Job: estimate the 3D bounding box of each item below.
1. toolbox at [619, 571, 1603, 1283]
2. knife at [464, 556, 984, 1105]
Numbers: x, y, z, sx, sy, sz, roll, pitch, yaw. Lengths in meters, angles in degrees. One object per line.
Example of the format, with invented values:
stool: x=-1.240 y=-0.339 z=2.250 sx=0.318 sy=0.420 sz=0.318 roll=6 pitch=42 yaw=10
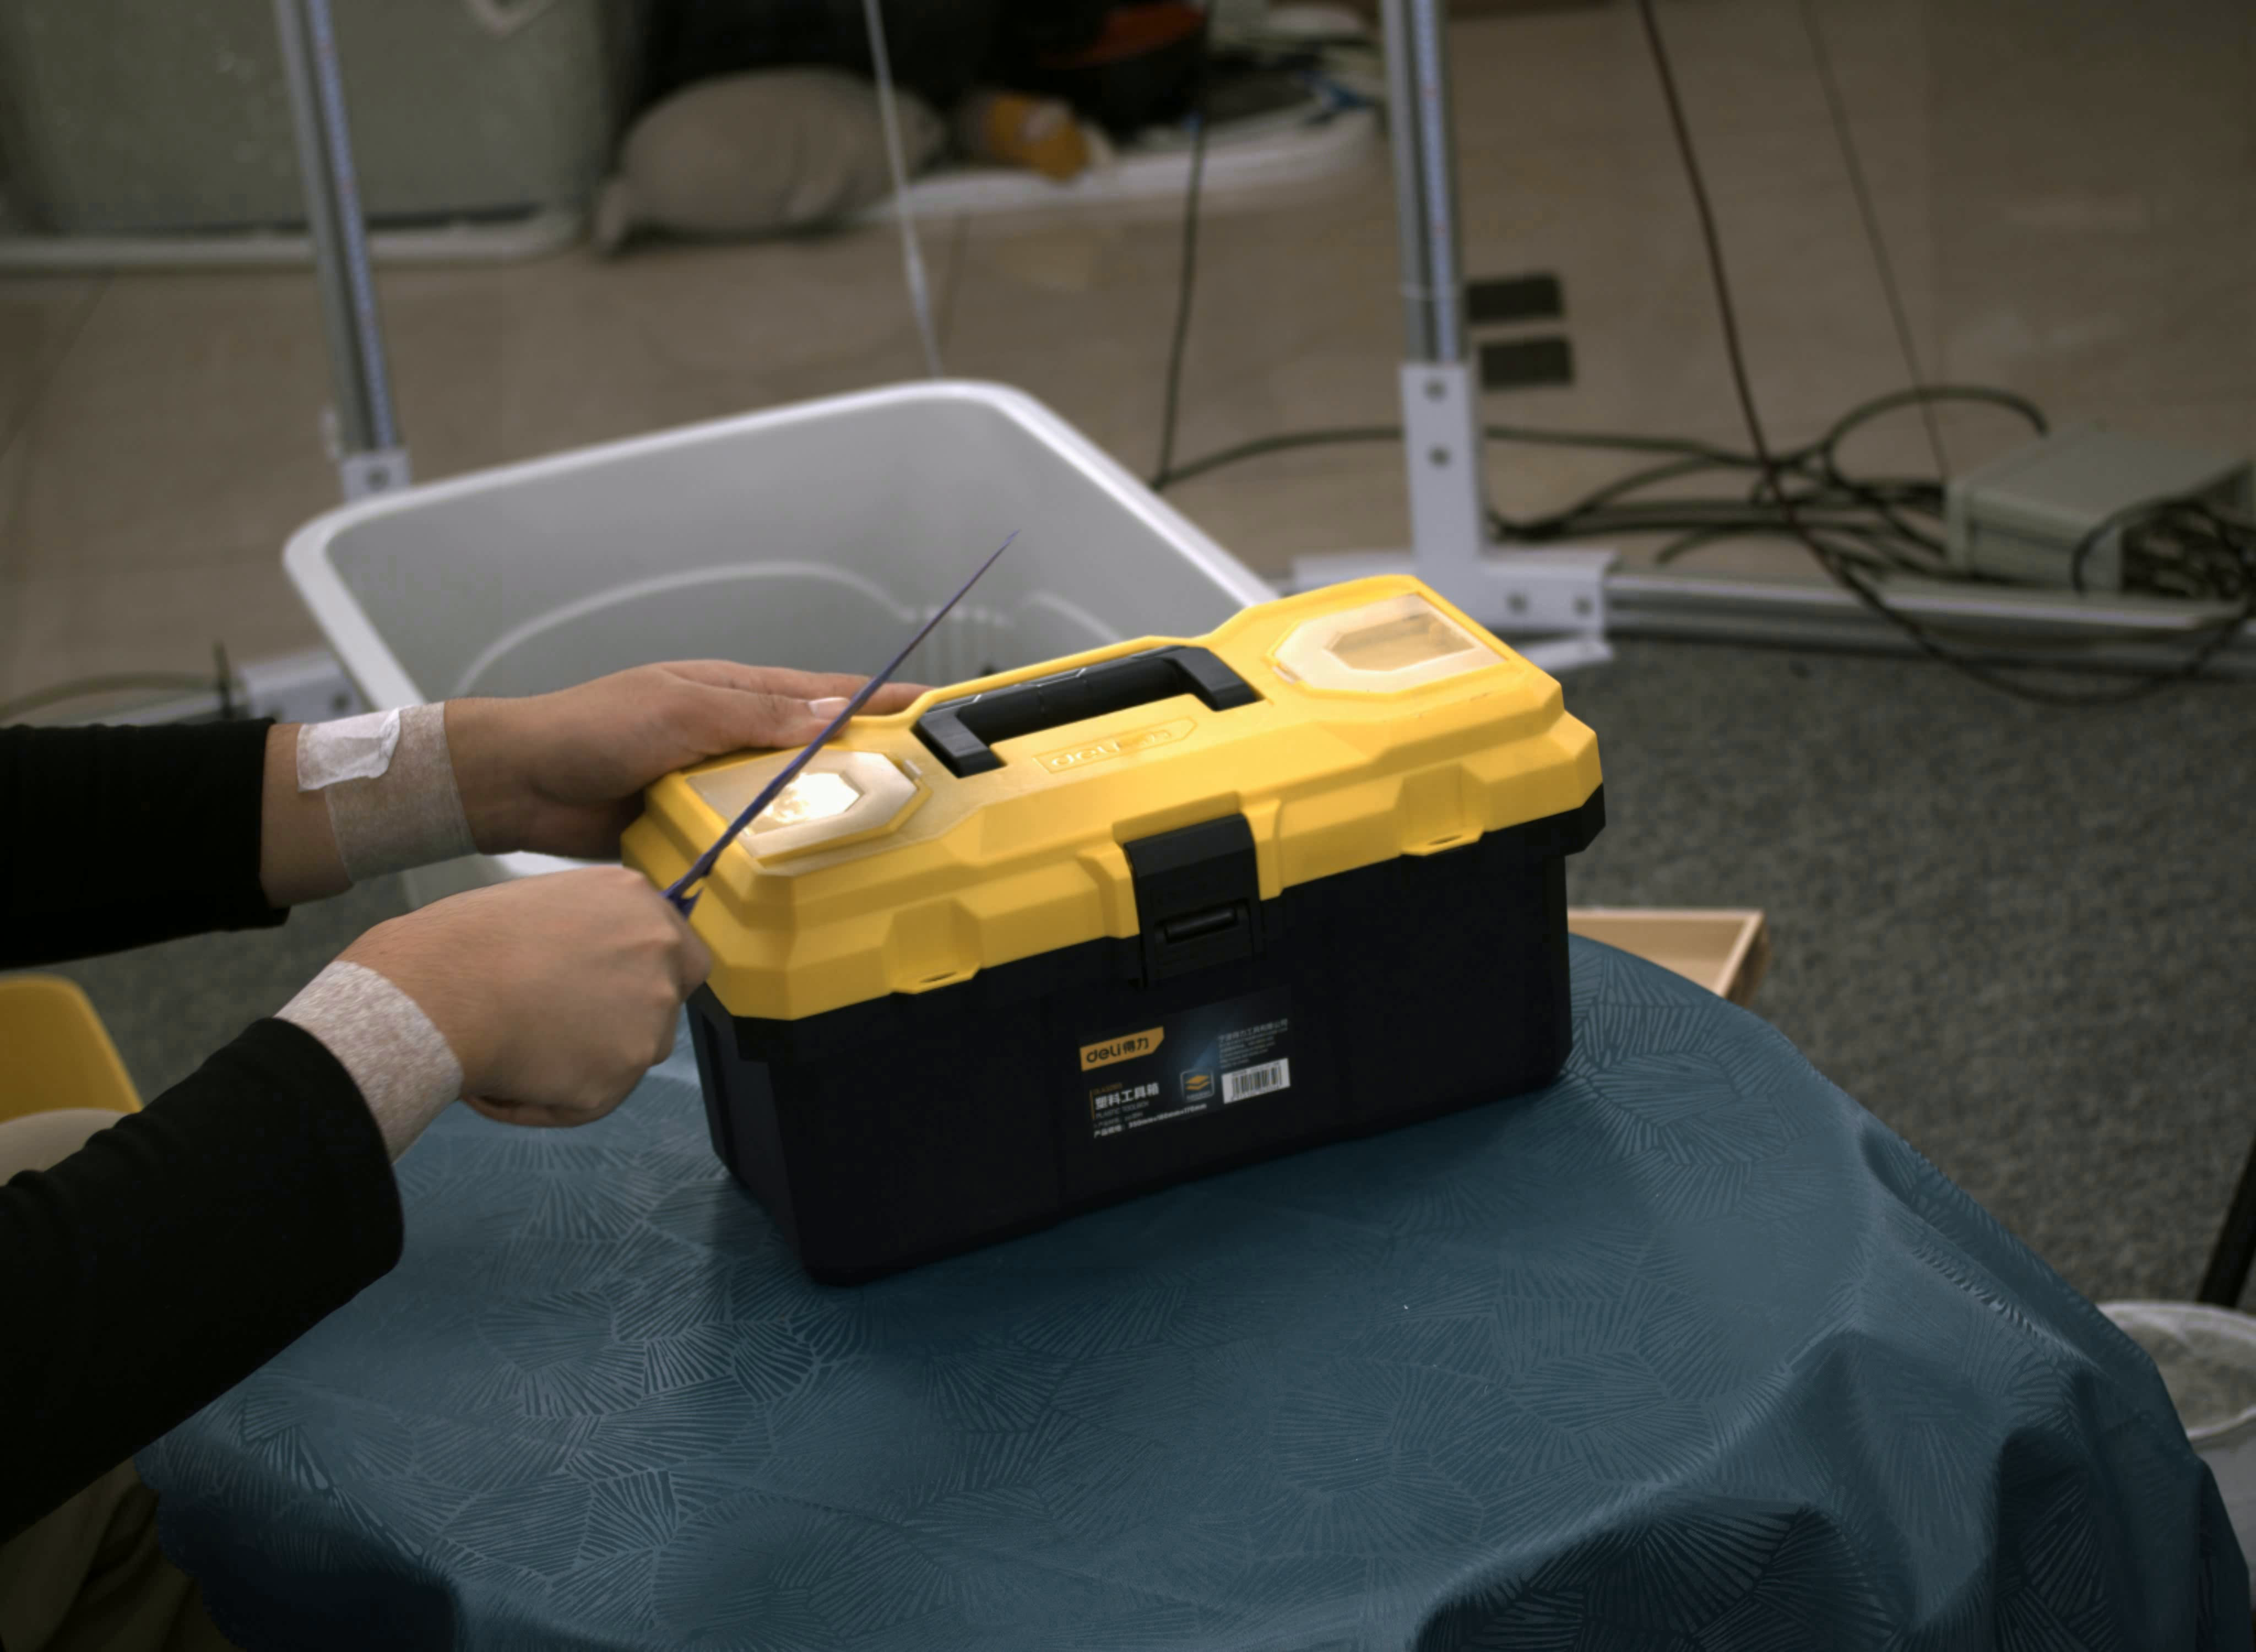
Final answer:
toolbox: x=-0.001 y=0.037 z=2.159 sx=0.350 sy=0.175 sz=0.179 roll=-15 pitch=26 yaw=-17
knife: x=-0.135 y=-0.010 z=1.979 sx=0.032 sy=0.105 sz=0.311 roll=41 pitch=37 yaw=-4
